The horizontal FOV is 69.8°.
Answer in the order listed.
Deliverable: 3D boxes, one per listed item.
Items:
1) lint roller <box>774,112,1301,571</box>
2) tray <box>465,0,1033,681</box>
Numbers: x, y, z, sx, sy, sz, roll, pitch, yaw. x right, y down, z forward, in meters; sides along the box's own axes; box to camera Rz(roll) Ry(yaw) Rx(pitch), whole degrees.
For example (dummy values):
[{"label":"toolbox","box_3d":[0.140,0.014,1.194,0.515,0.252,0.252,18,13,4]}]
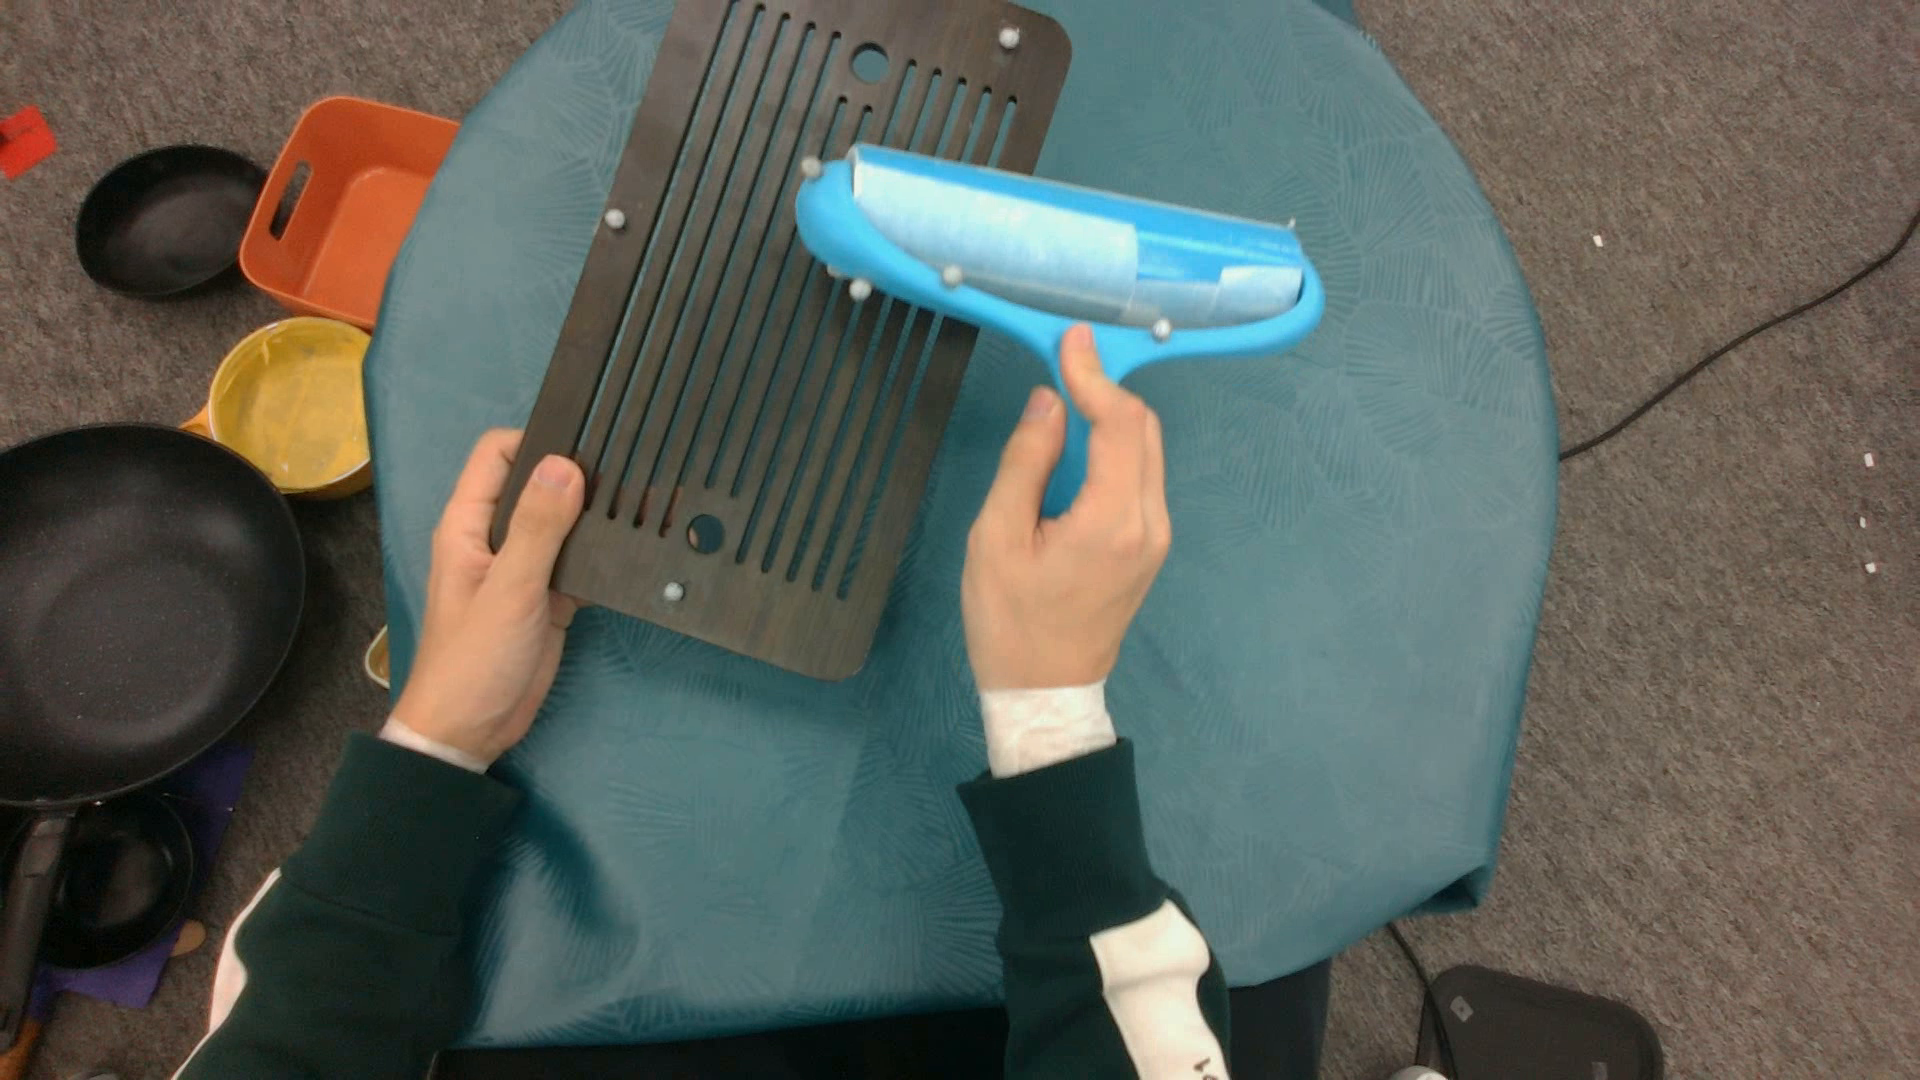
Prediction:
[{"label":"lint roller","box_3d":[0.037,-0.081,0.565,0.229,0.067,0.180,3,74,-16]},{"label":"tray","box_3d":[-0.090,-0.106,0.604,0.170,0.018,0.306,17,86,-2]}]
